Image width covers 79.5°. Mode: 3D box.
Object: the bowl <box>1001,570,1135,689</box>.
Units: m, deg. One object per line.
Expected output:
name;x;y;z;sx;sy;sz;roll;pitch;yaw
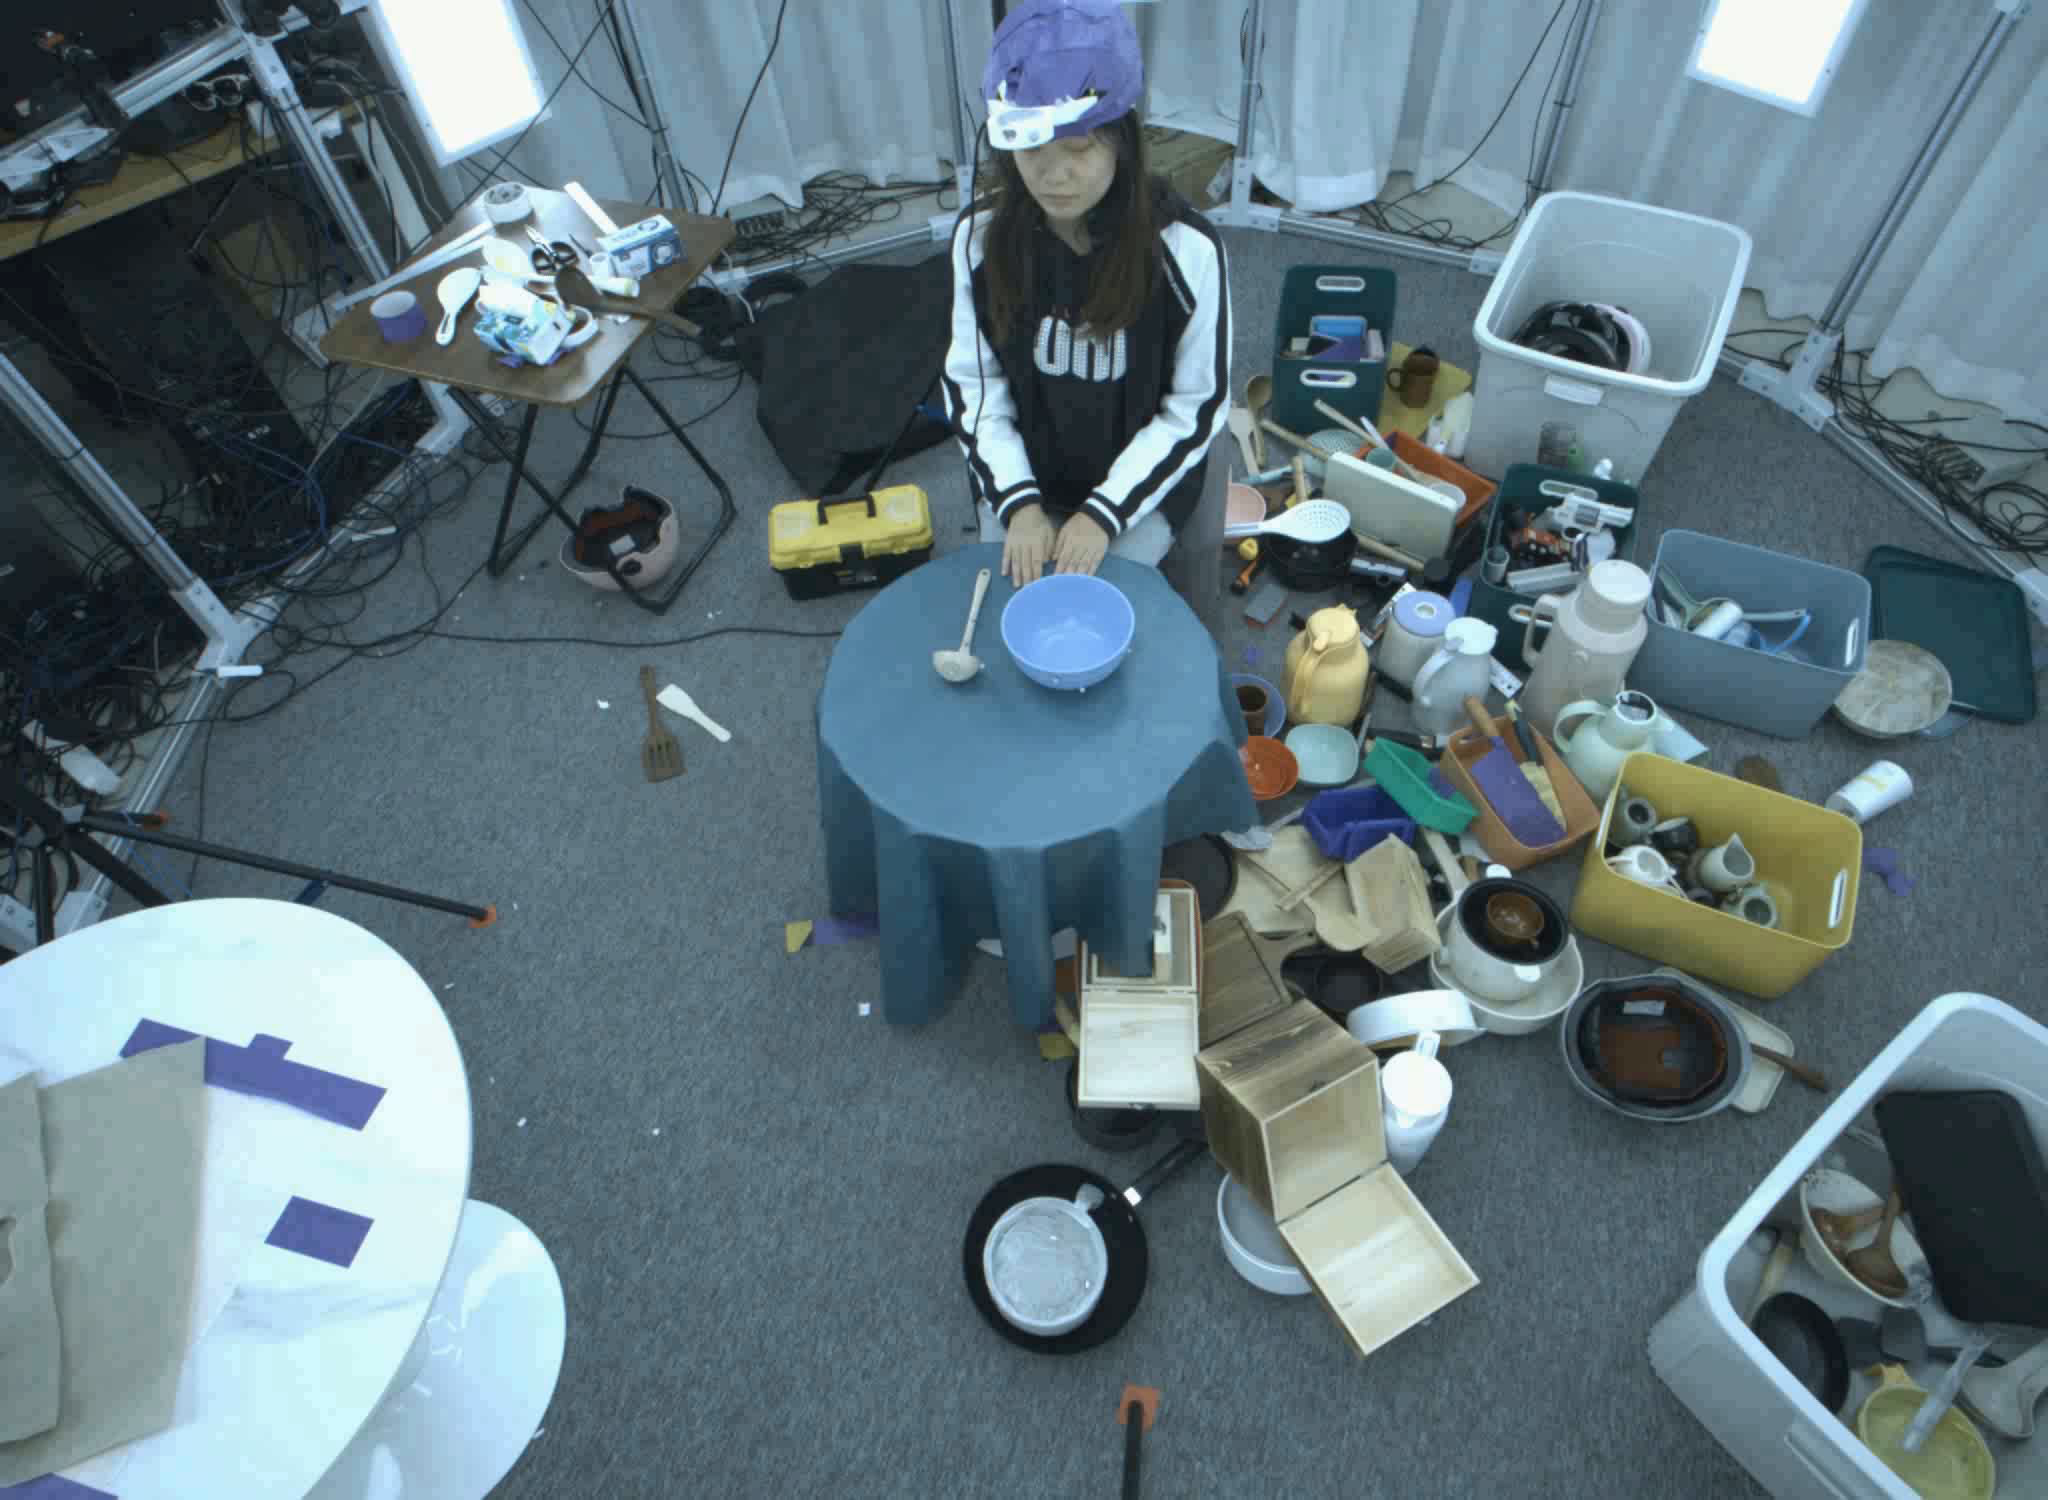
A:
bowl;0.067;-0.165;1.841;0.196;0.096;0.194;0;58;1

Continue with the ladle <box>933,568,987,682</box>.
ladle;-0.088;-0.215;1.898;0.072;0.073;0.252;5;55;6
